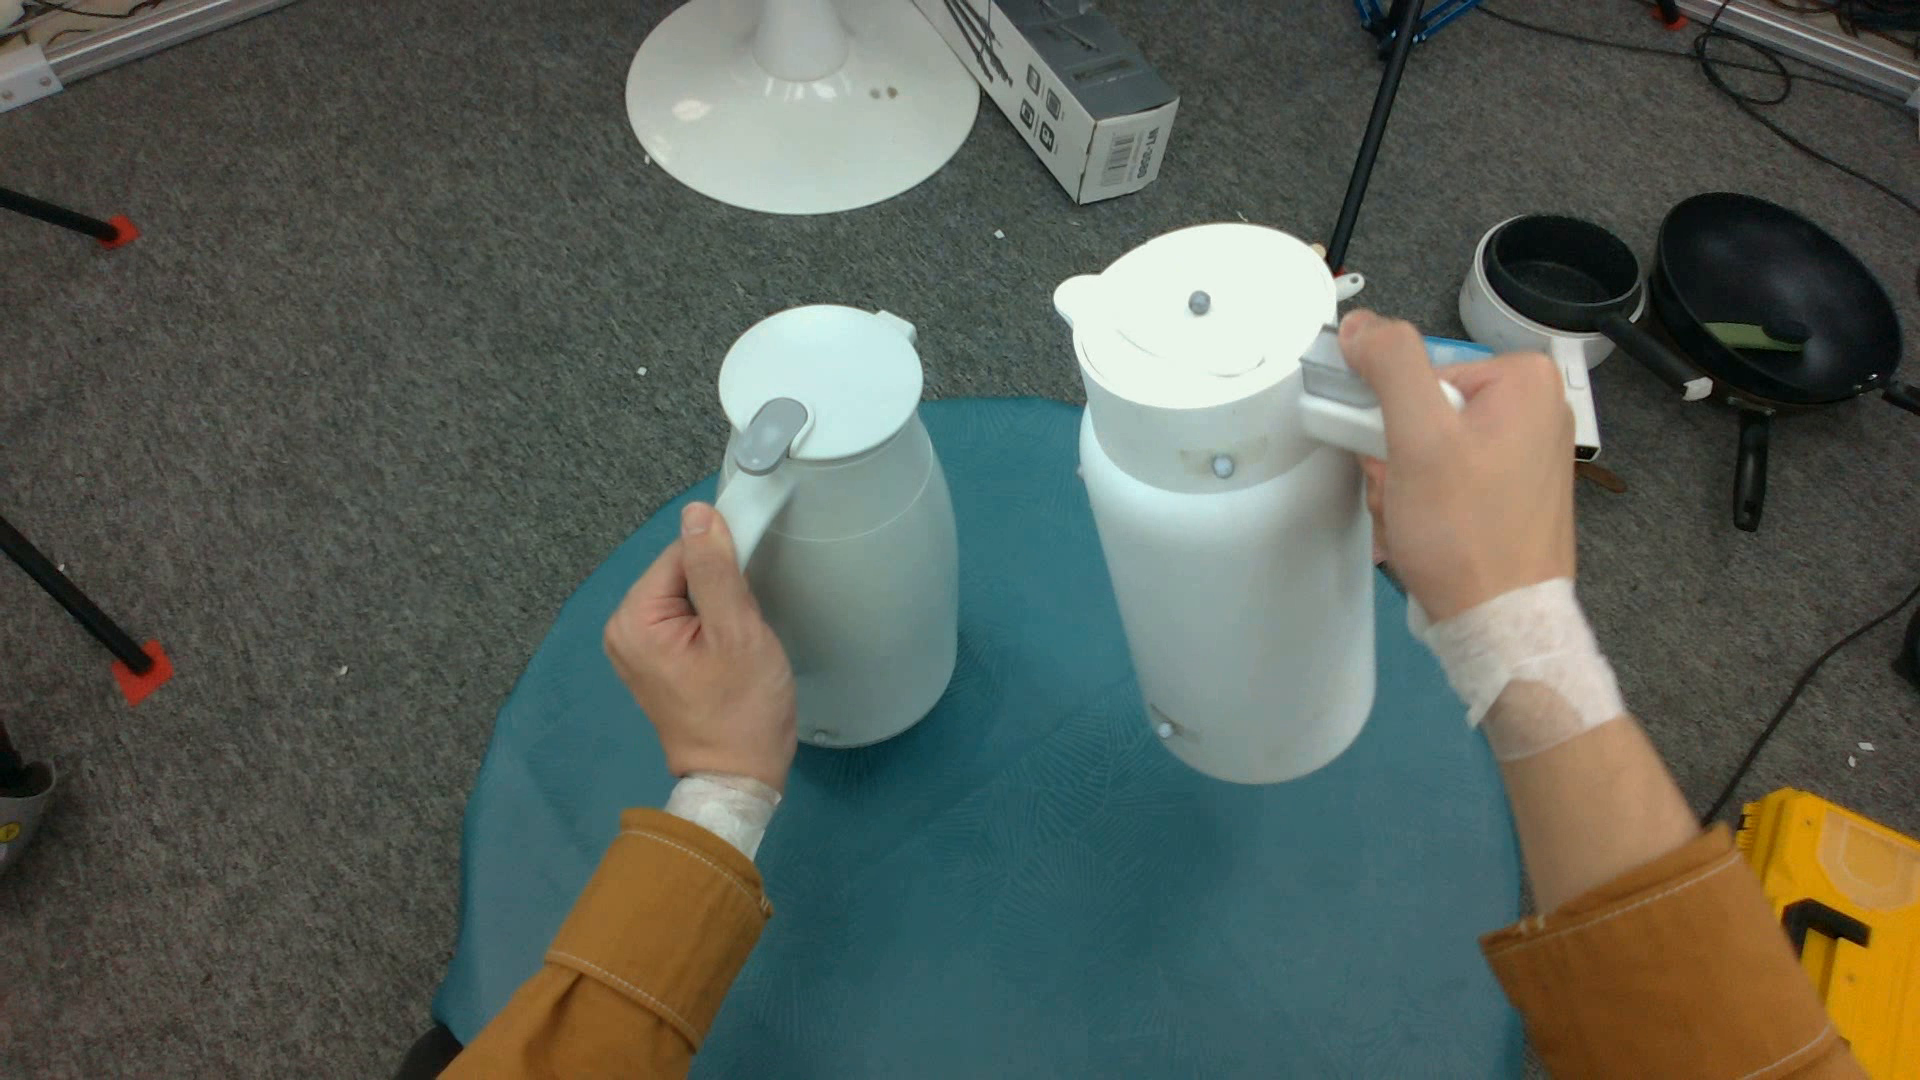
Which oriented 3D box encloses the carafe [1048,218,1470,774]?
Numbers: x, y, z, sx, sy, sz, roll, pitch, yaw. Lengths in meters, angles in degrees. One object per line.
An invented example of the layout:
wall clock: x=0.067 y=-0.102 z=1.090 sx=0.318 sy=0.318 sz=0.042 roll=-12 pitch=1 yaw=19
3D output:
carafe: x=0.134 y=-0.003 z=0.607 sx=0.172 sy=0.268 sz=0.124 roll=22 pitch=59 yaw=31

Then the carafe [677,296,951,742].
carafe: x=-0.078 y=0.004 z=0.700 sx=0.132 sy=0.247 sz=0.168 roll=26 pitch=59 yaw=16
